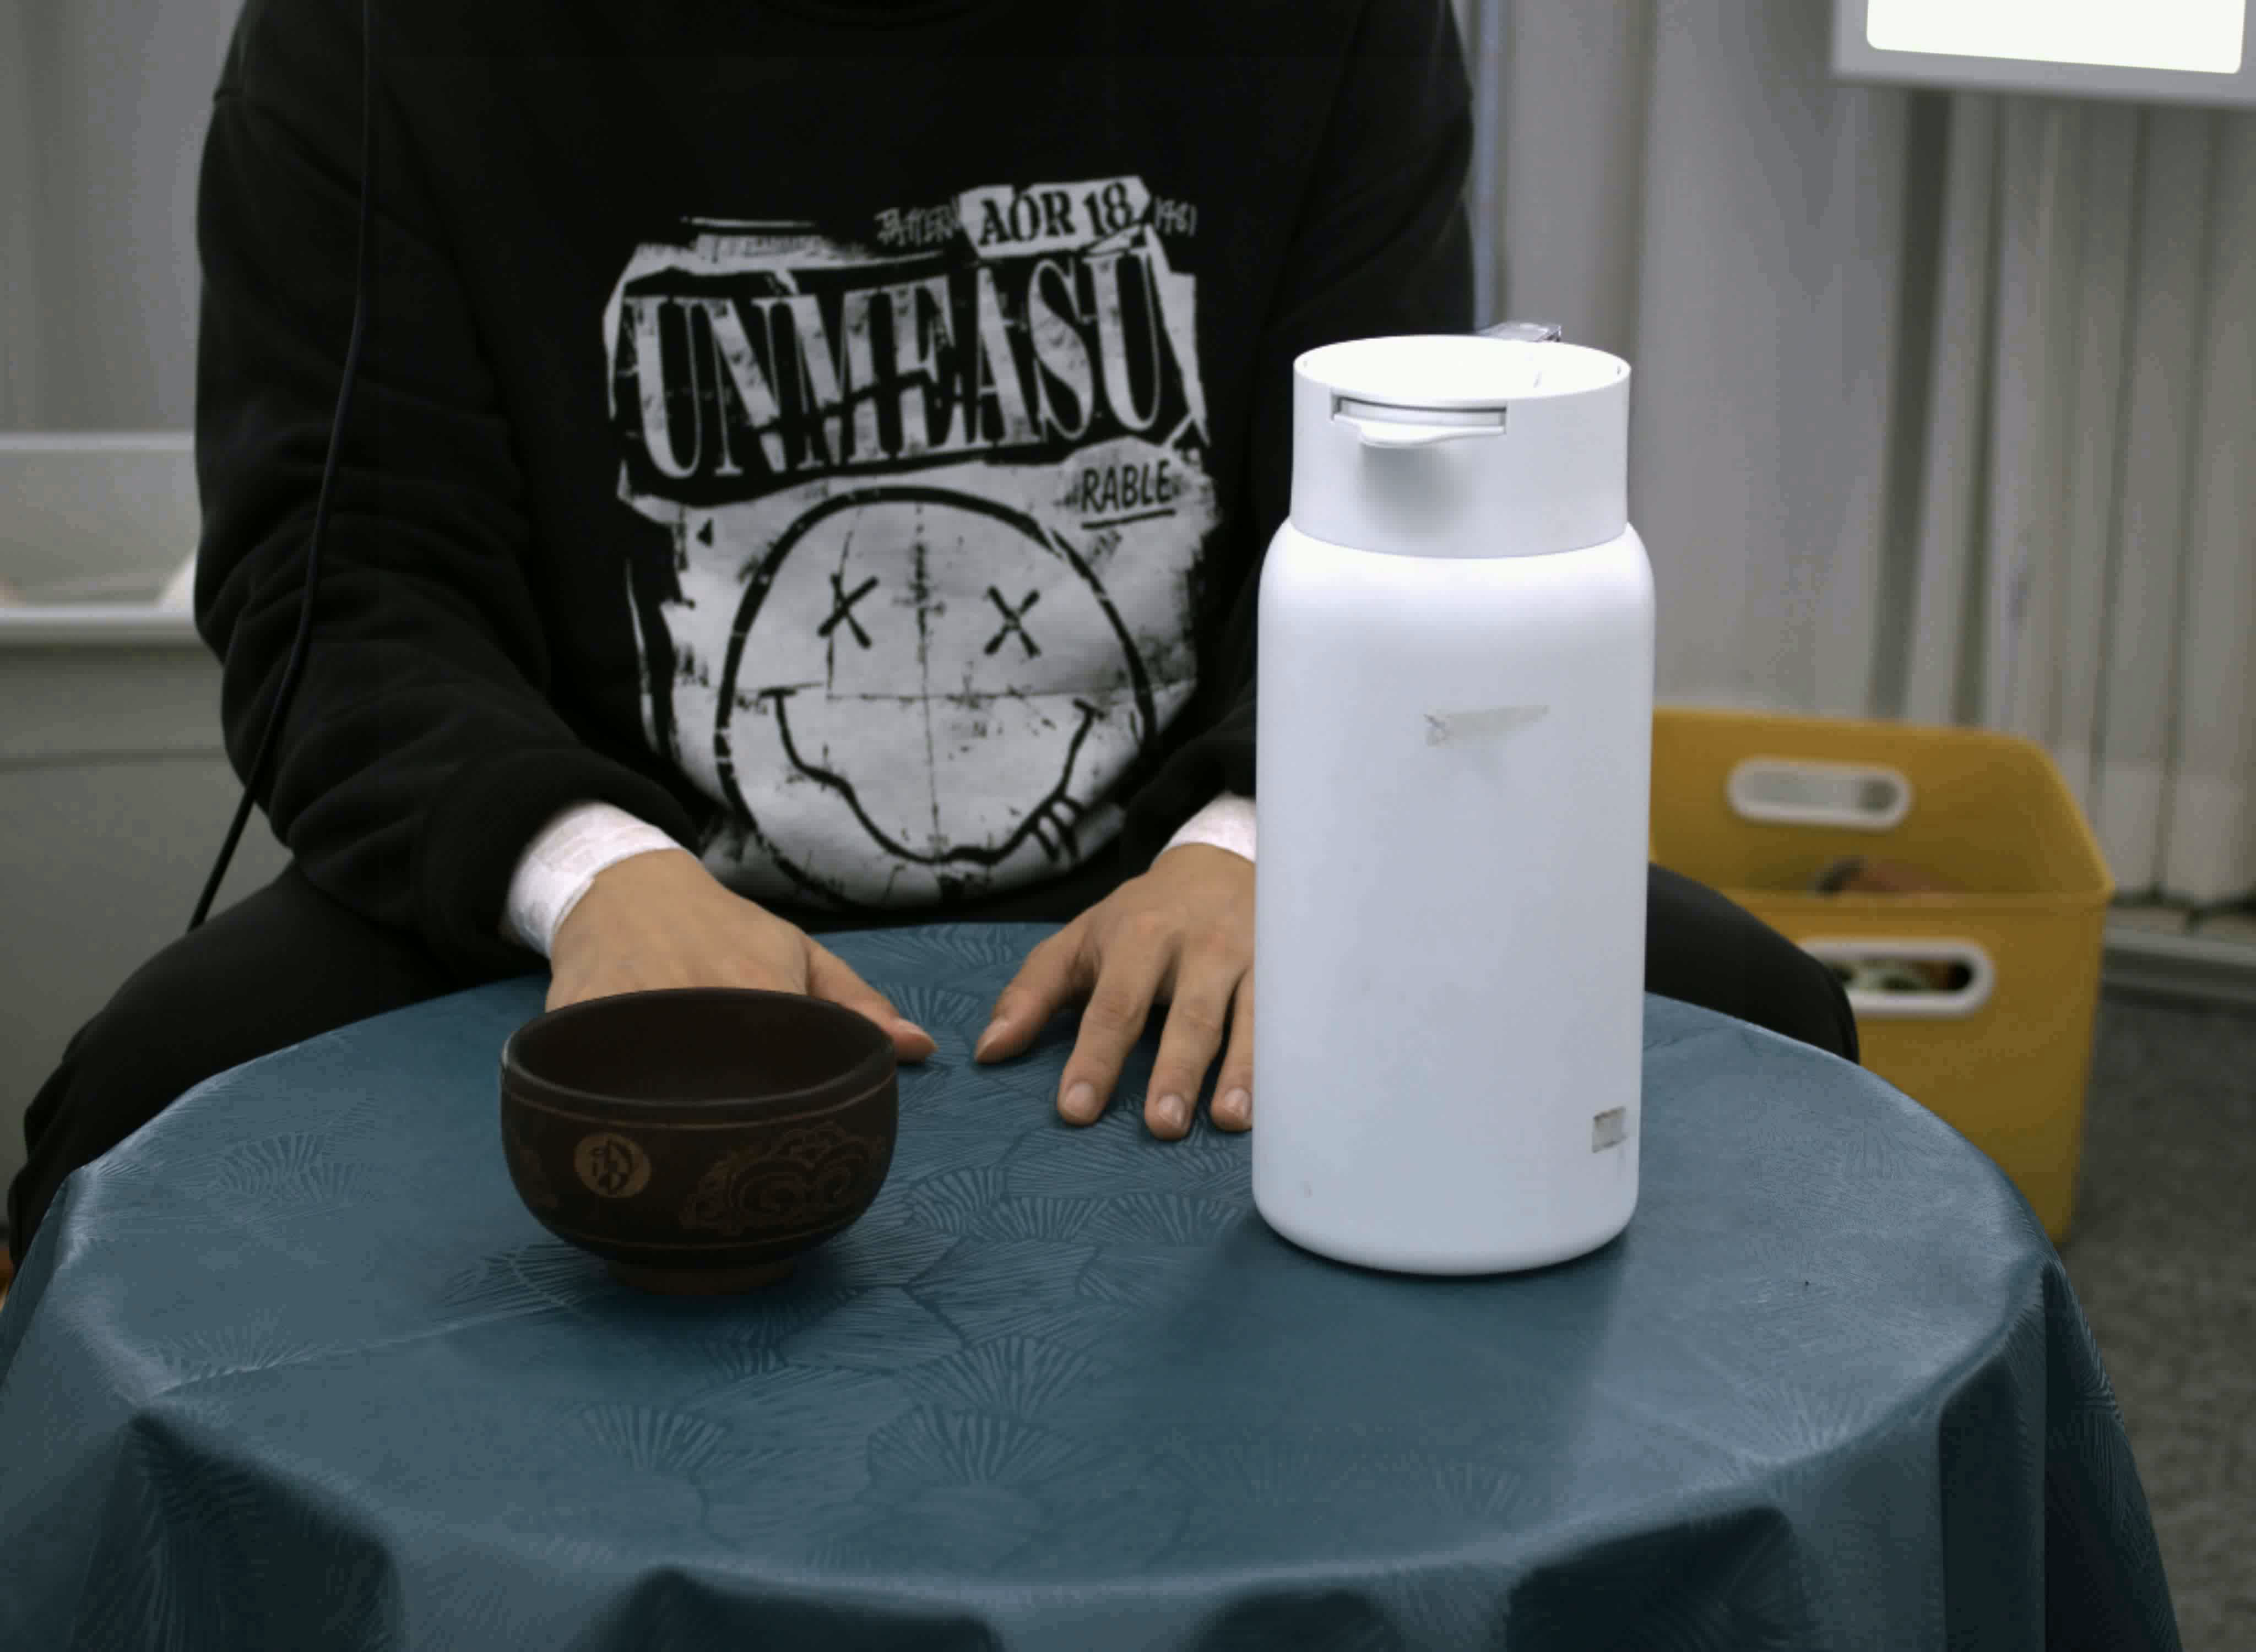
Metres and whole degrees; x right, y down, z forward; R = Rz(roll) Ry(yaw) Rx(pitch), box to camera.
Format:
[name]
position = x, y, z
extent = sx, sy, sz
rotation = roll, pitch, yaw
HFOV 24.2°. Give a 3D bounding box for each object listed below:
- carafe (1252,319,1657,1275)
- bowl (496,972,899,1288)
[carafe]
position = 0.101, -0.013, 1.577
extent = 0.123, 0.271, 0.173
rotation = 4, 17, 19
[bowl]
position = -0.126, 0.093, 1.547
extent = 0.117, 0.070, 0.117
rotation = 1, 18, 0
